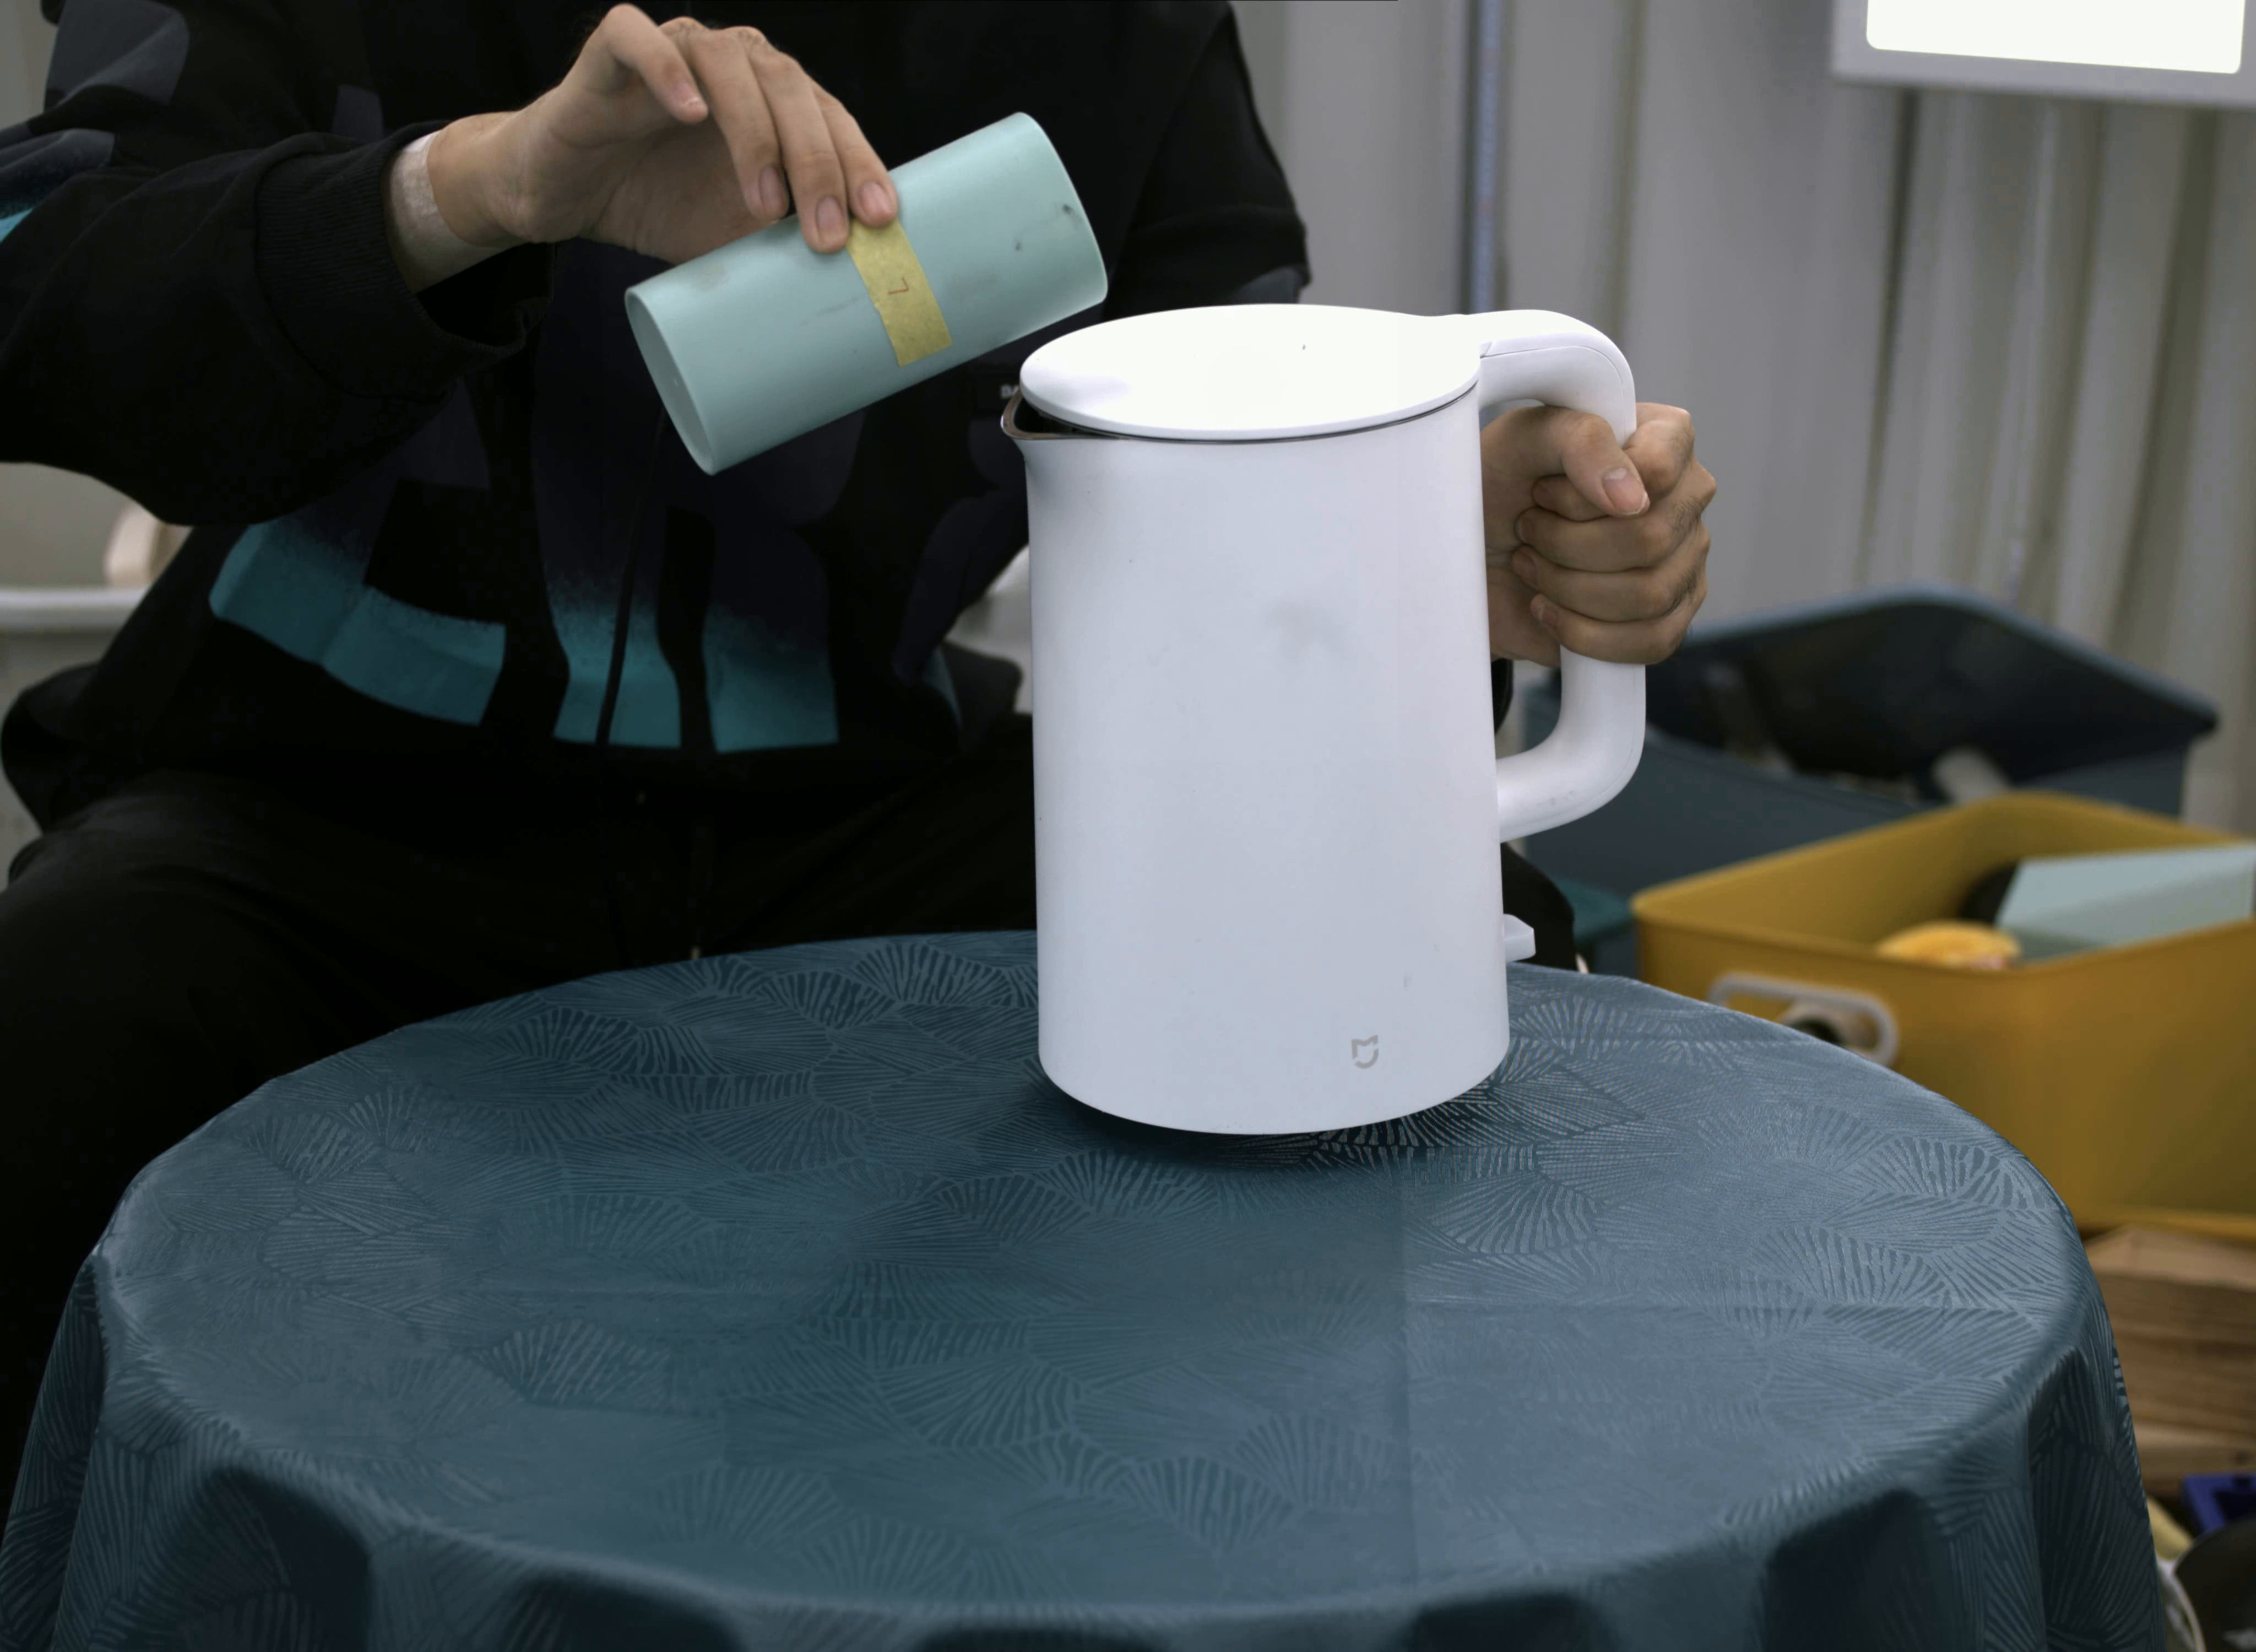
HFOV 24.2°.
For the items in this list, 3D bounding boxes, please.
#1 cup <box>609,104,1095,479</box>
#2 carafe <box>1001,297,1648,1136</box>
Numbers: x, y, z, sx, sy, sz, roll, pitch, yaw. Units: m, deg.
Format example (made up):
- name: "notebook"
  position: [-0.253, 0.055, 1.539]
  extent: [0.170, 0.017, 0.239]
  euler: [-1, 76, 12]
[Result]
- name: "cup"
  position: [-0.082, -0.159, 1.565]
  extent: [0.132, 0.067, 0.066]
  euler: [-27, 22, -10]
- name: "carafe"
  position: [0.067, -0.041, 1.670]
  extent: [0.213, 0.242, 0.150]
  euler: [-11, 23, -21]
